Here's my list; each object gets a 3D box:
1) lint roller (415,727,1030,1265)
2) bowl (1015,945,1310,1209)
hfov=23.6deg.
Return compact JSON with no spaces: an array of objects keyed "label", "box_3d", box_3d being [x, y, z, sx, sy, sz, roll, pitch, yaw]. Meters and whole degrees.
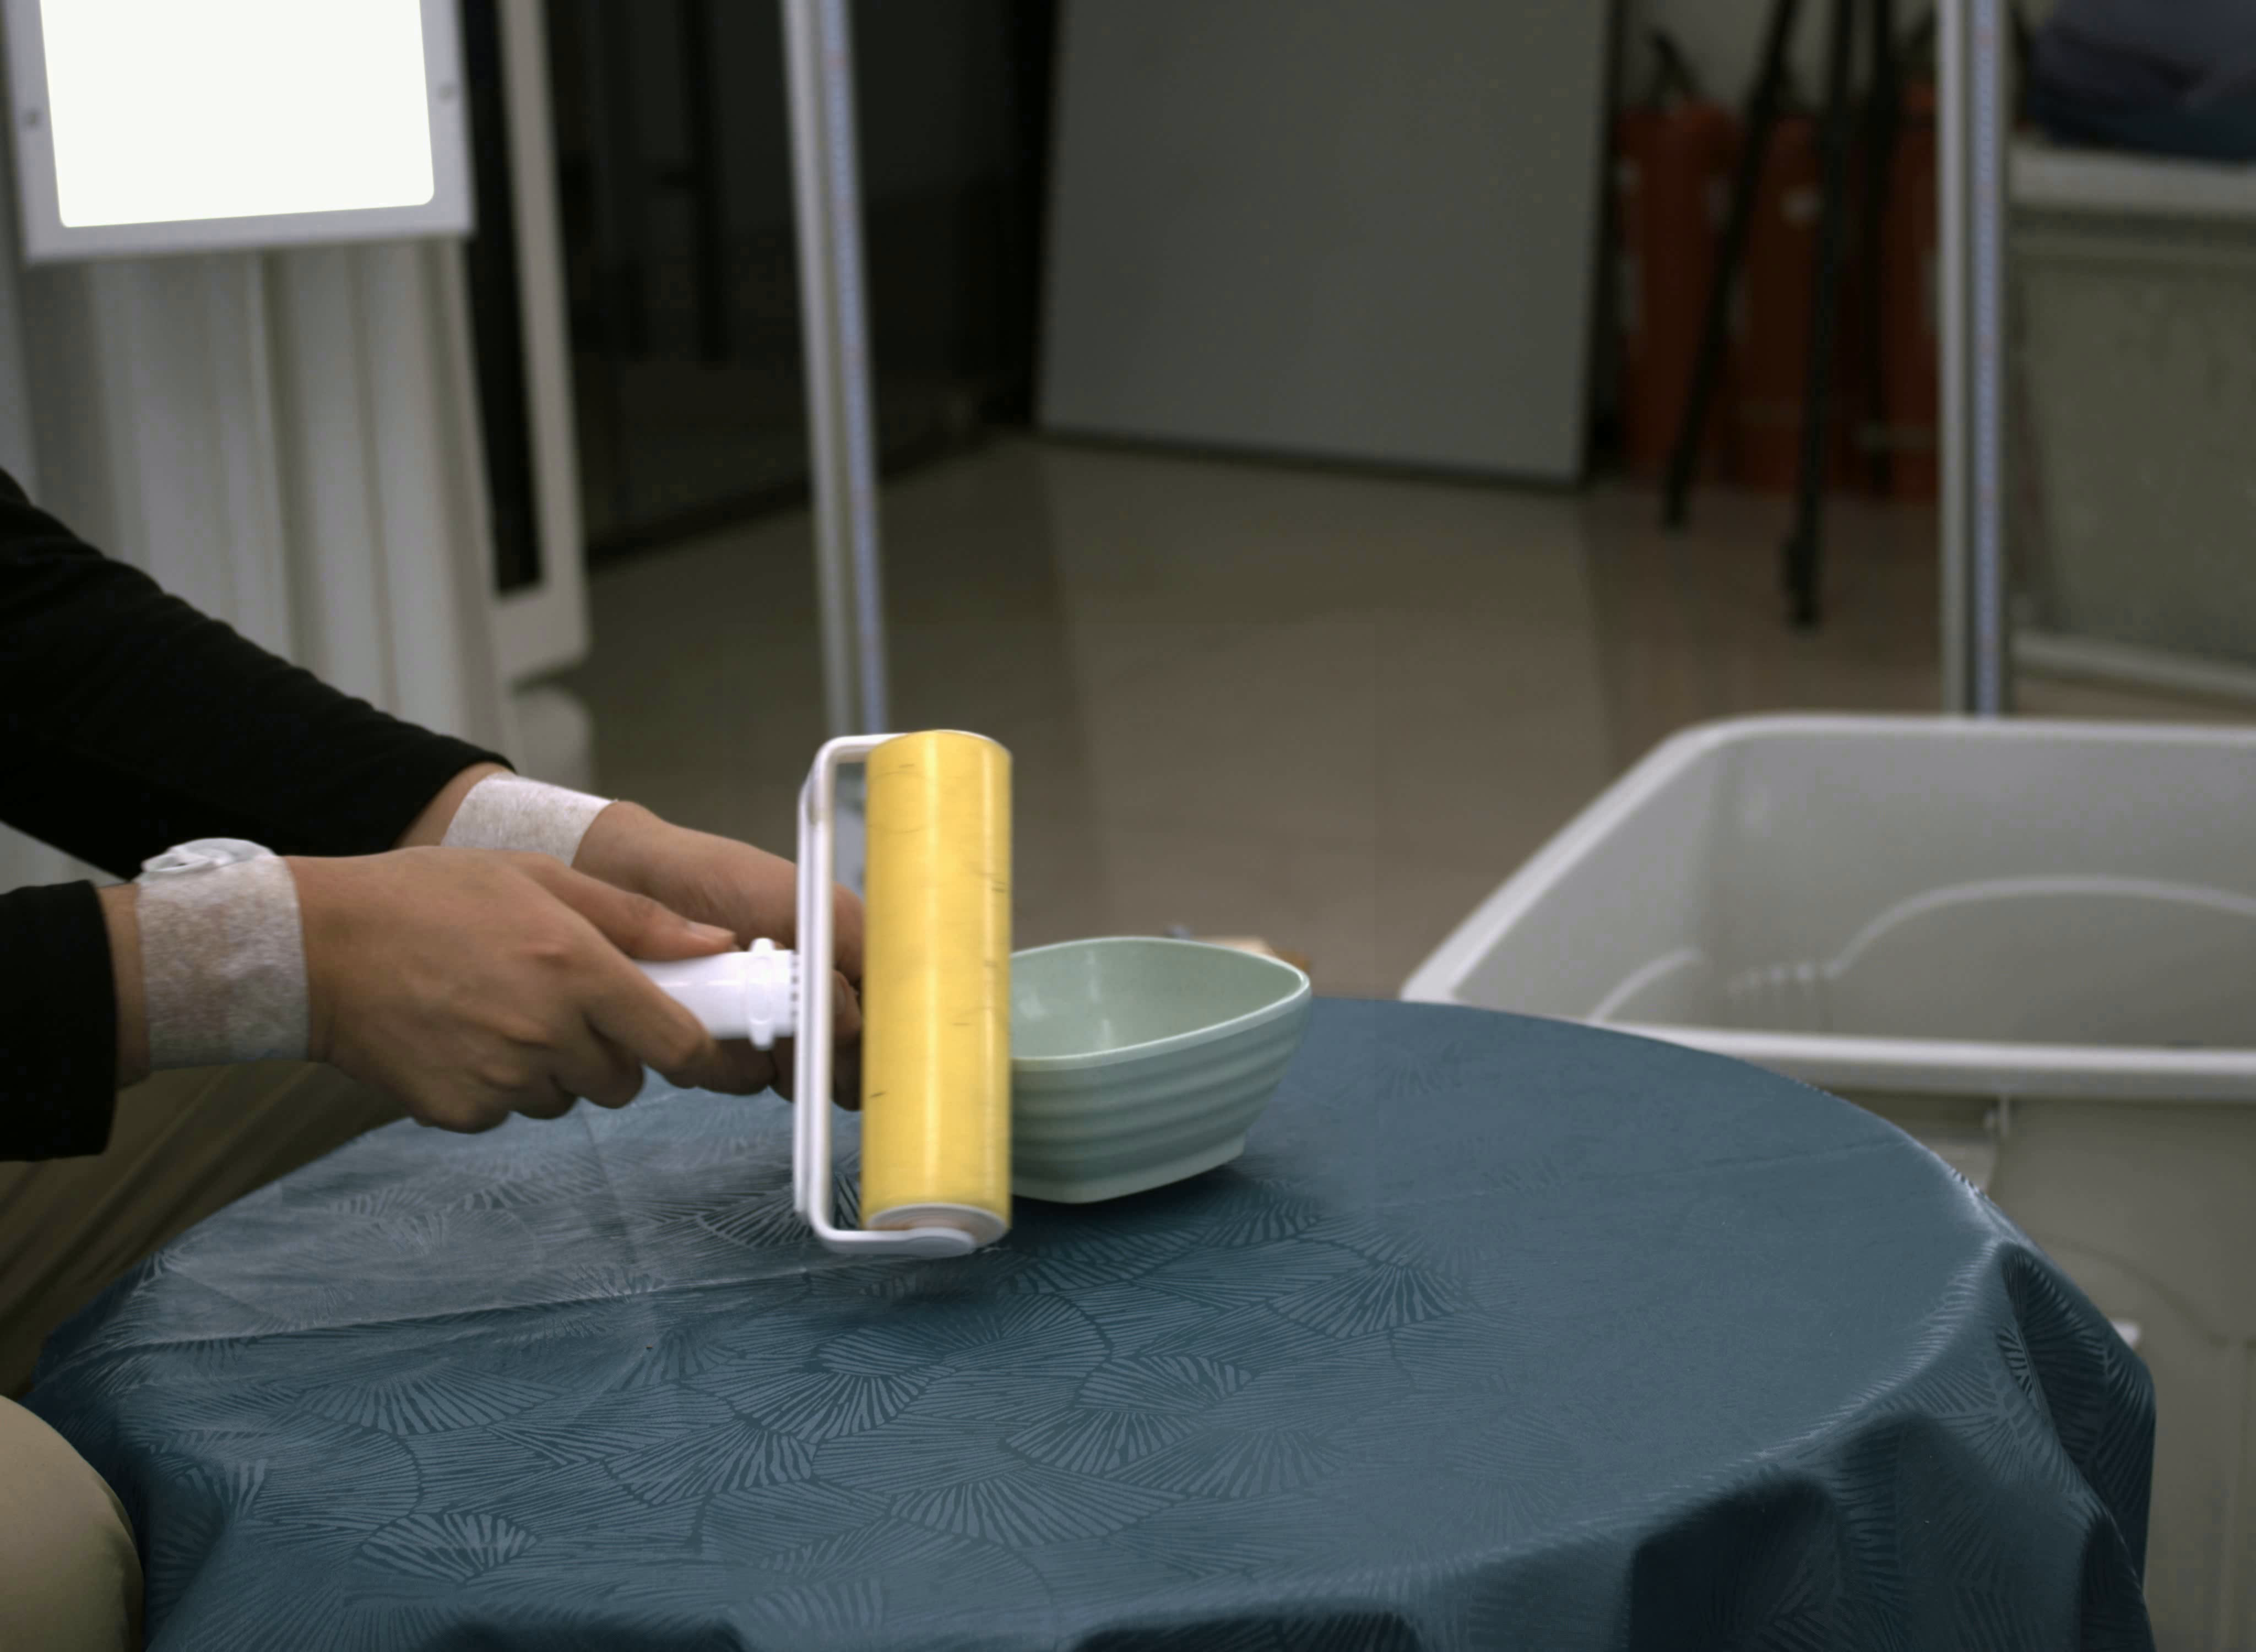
[{"label":"lint roller","box_3d":[-0.128,0.053,1.697,0.189,0.176,0.051,0,-24,-6]},{"label":"bowl","box_3d":[-0.013,0.085,1.778,0.149,0.059,0.151,-5,12,0]}]
